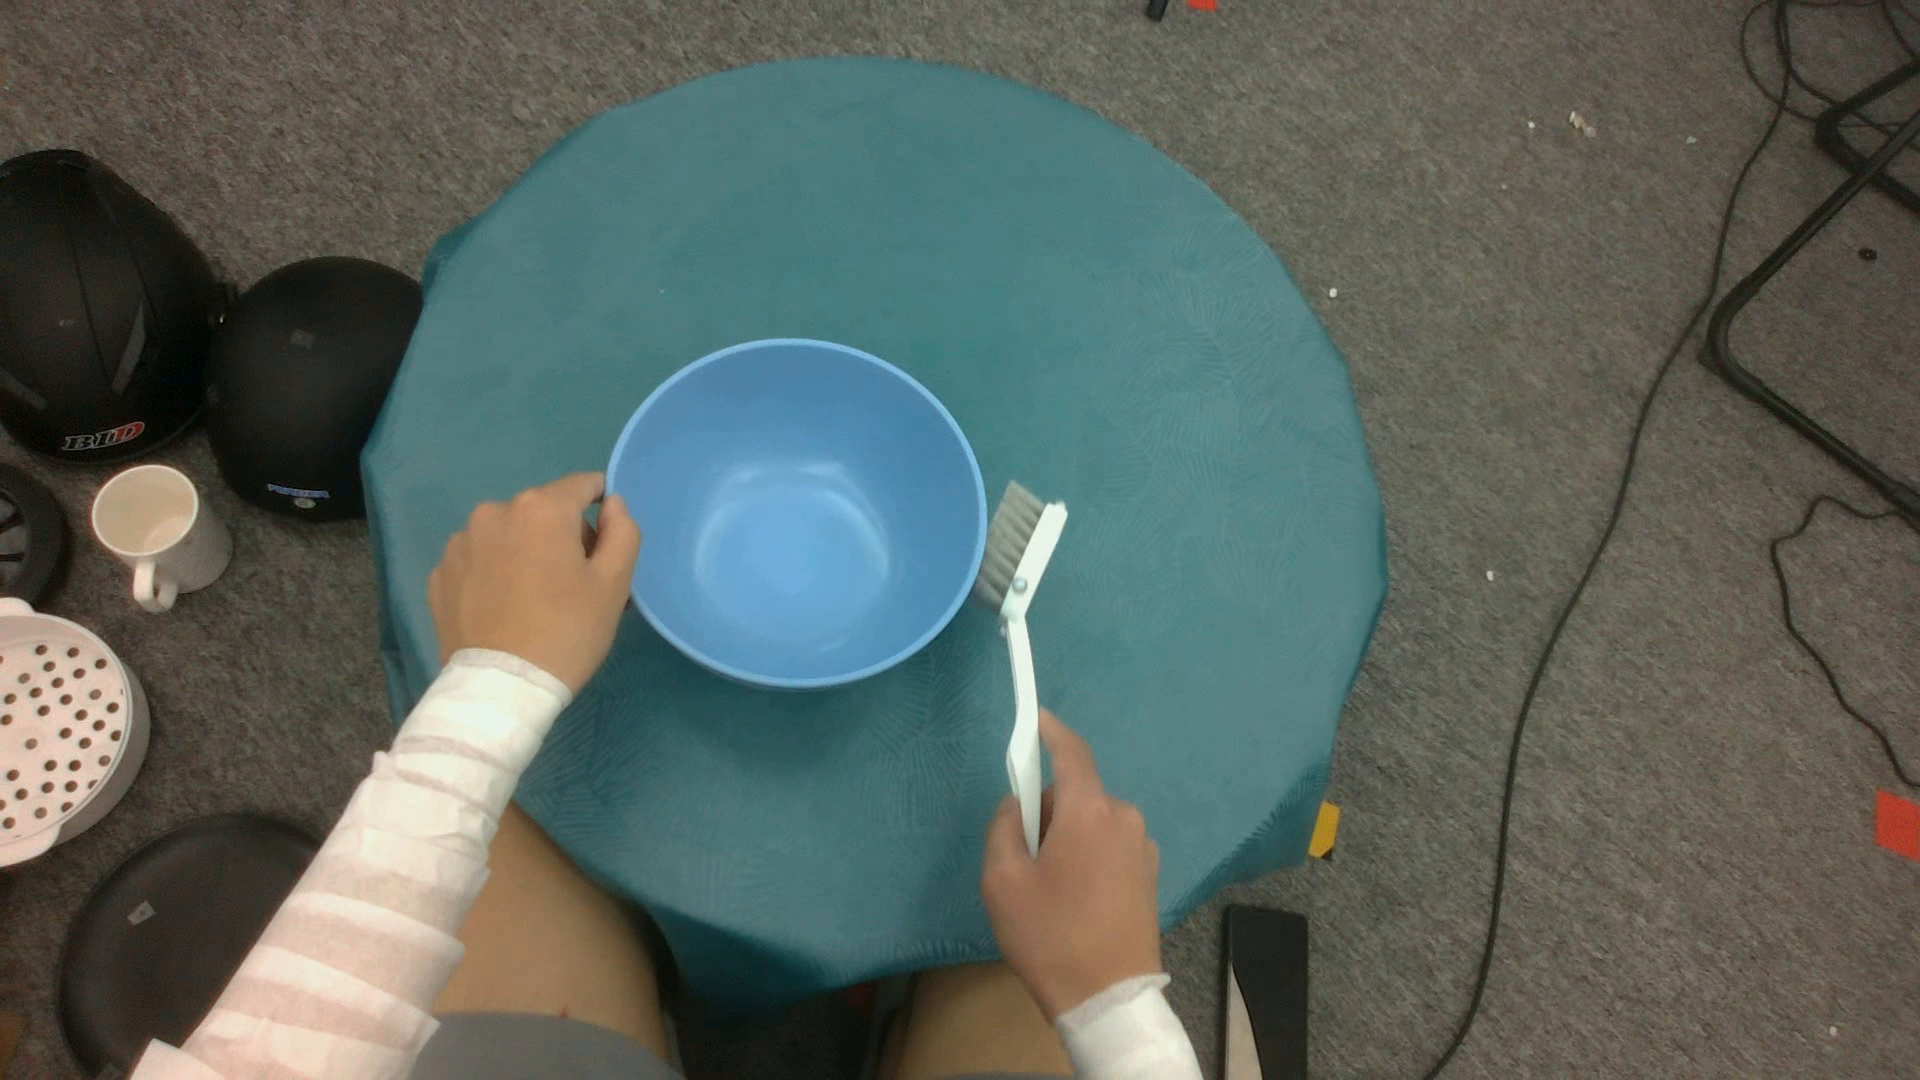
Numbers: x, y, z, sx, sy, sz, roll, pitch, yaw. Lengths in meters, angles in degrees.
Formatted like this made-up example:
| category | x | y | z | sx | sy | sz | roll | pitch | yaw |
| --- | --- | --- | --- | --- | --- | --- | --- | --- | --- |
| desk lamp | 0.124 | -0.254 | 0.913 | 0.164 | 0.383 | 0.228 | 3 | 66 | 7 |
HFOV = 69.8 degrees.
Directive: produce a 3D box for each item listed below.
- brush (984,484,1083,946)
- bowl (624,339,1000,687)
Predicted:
| category | x | y | z | sx | sy | sz | roll | pitch | yaw |
| --- | --- | --- | --- | --- | --- | --- | --- | --- | --- |
| brush | 0.031 | 0.085 | 0.722 | 0.050 | 0.034 | 0.244 | 5 | 68 | 4 |
| bowl | -0.083 | -0.002 | 0.762 | 0.196 | 0.095 | 0.197 | 4 | 66 | -9 |
